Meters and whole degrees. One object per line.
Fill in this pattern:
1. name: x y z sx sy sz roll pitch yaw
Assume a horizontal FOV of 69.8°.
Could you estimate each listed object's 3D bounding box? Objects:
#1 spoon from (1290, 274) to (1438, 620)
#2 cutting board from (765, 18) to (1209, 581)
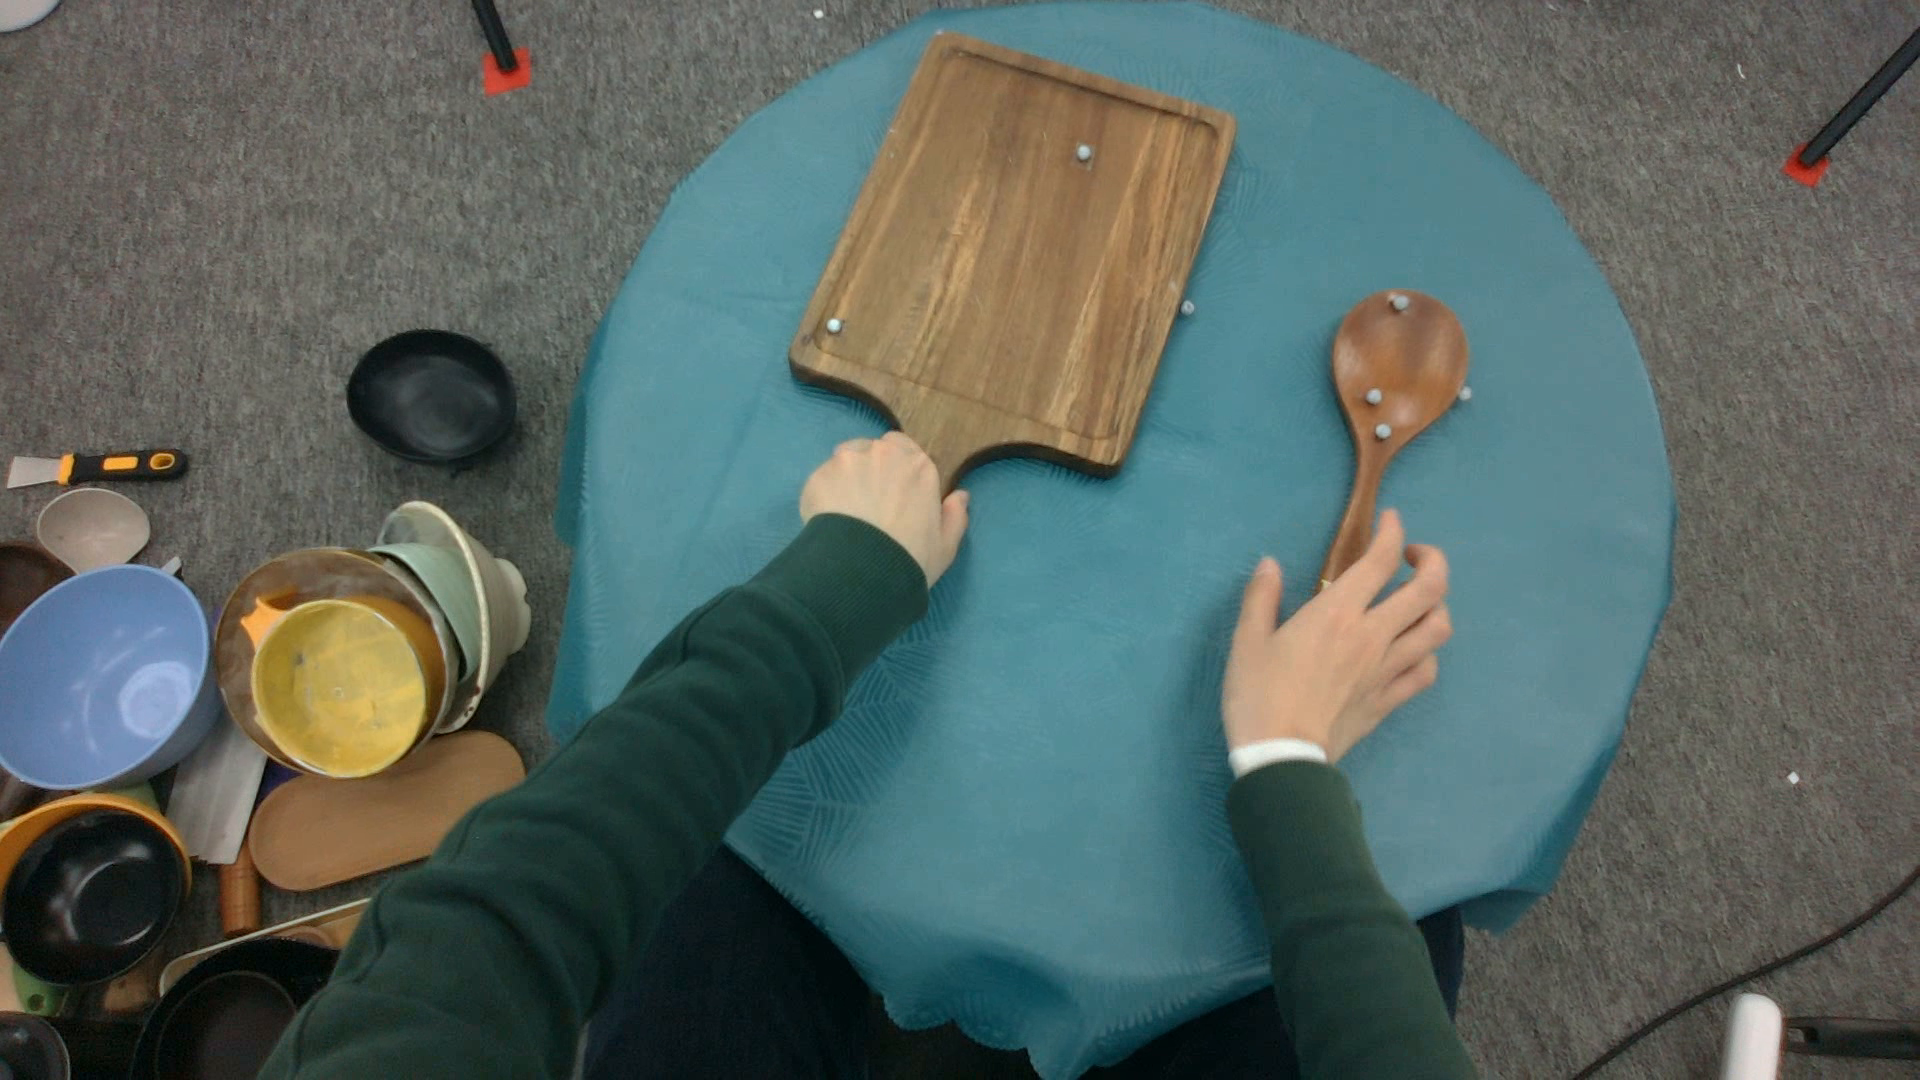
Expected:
1. spoon: 0.213 -0.054 0.753 0.075 0.017 0.216 18 67 3
2. cutting board: 0.006 -0.138 0.778 0.201 0.023 0.353 18 68 4
